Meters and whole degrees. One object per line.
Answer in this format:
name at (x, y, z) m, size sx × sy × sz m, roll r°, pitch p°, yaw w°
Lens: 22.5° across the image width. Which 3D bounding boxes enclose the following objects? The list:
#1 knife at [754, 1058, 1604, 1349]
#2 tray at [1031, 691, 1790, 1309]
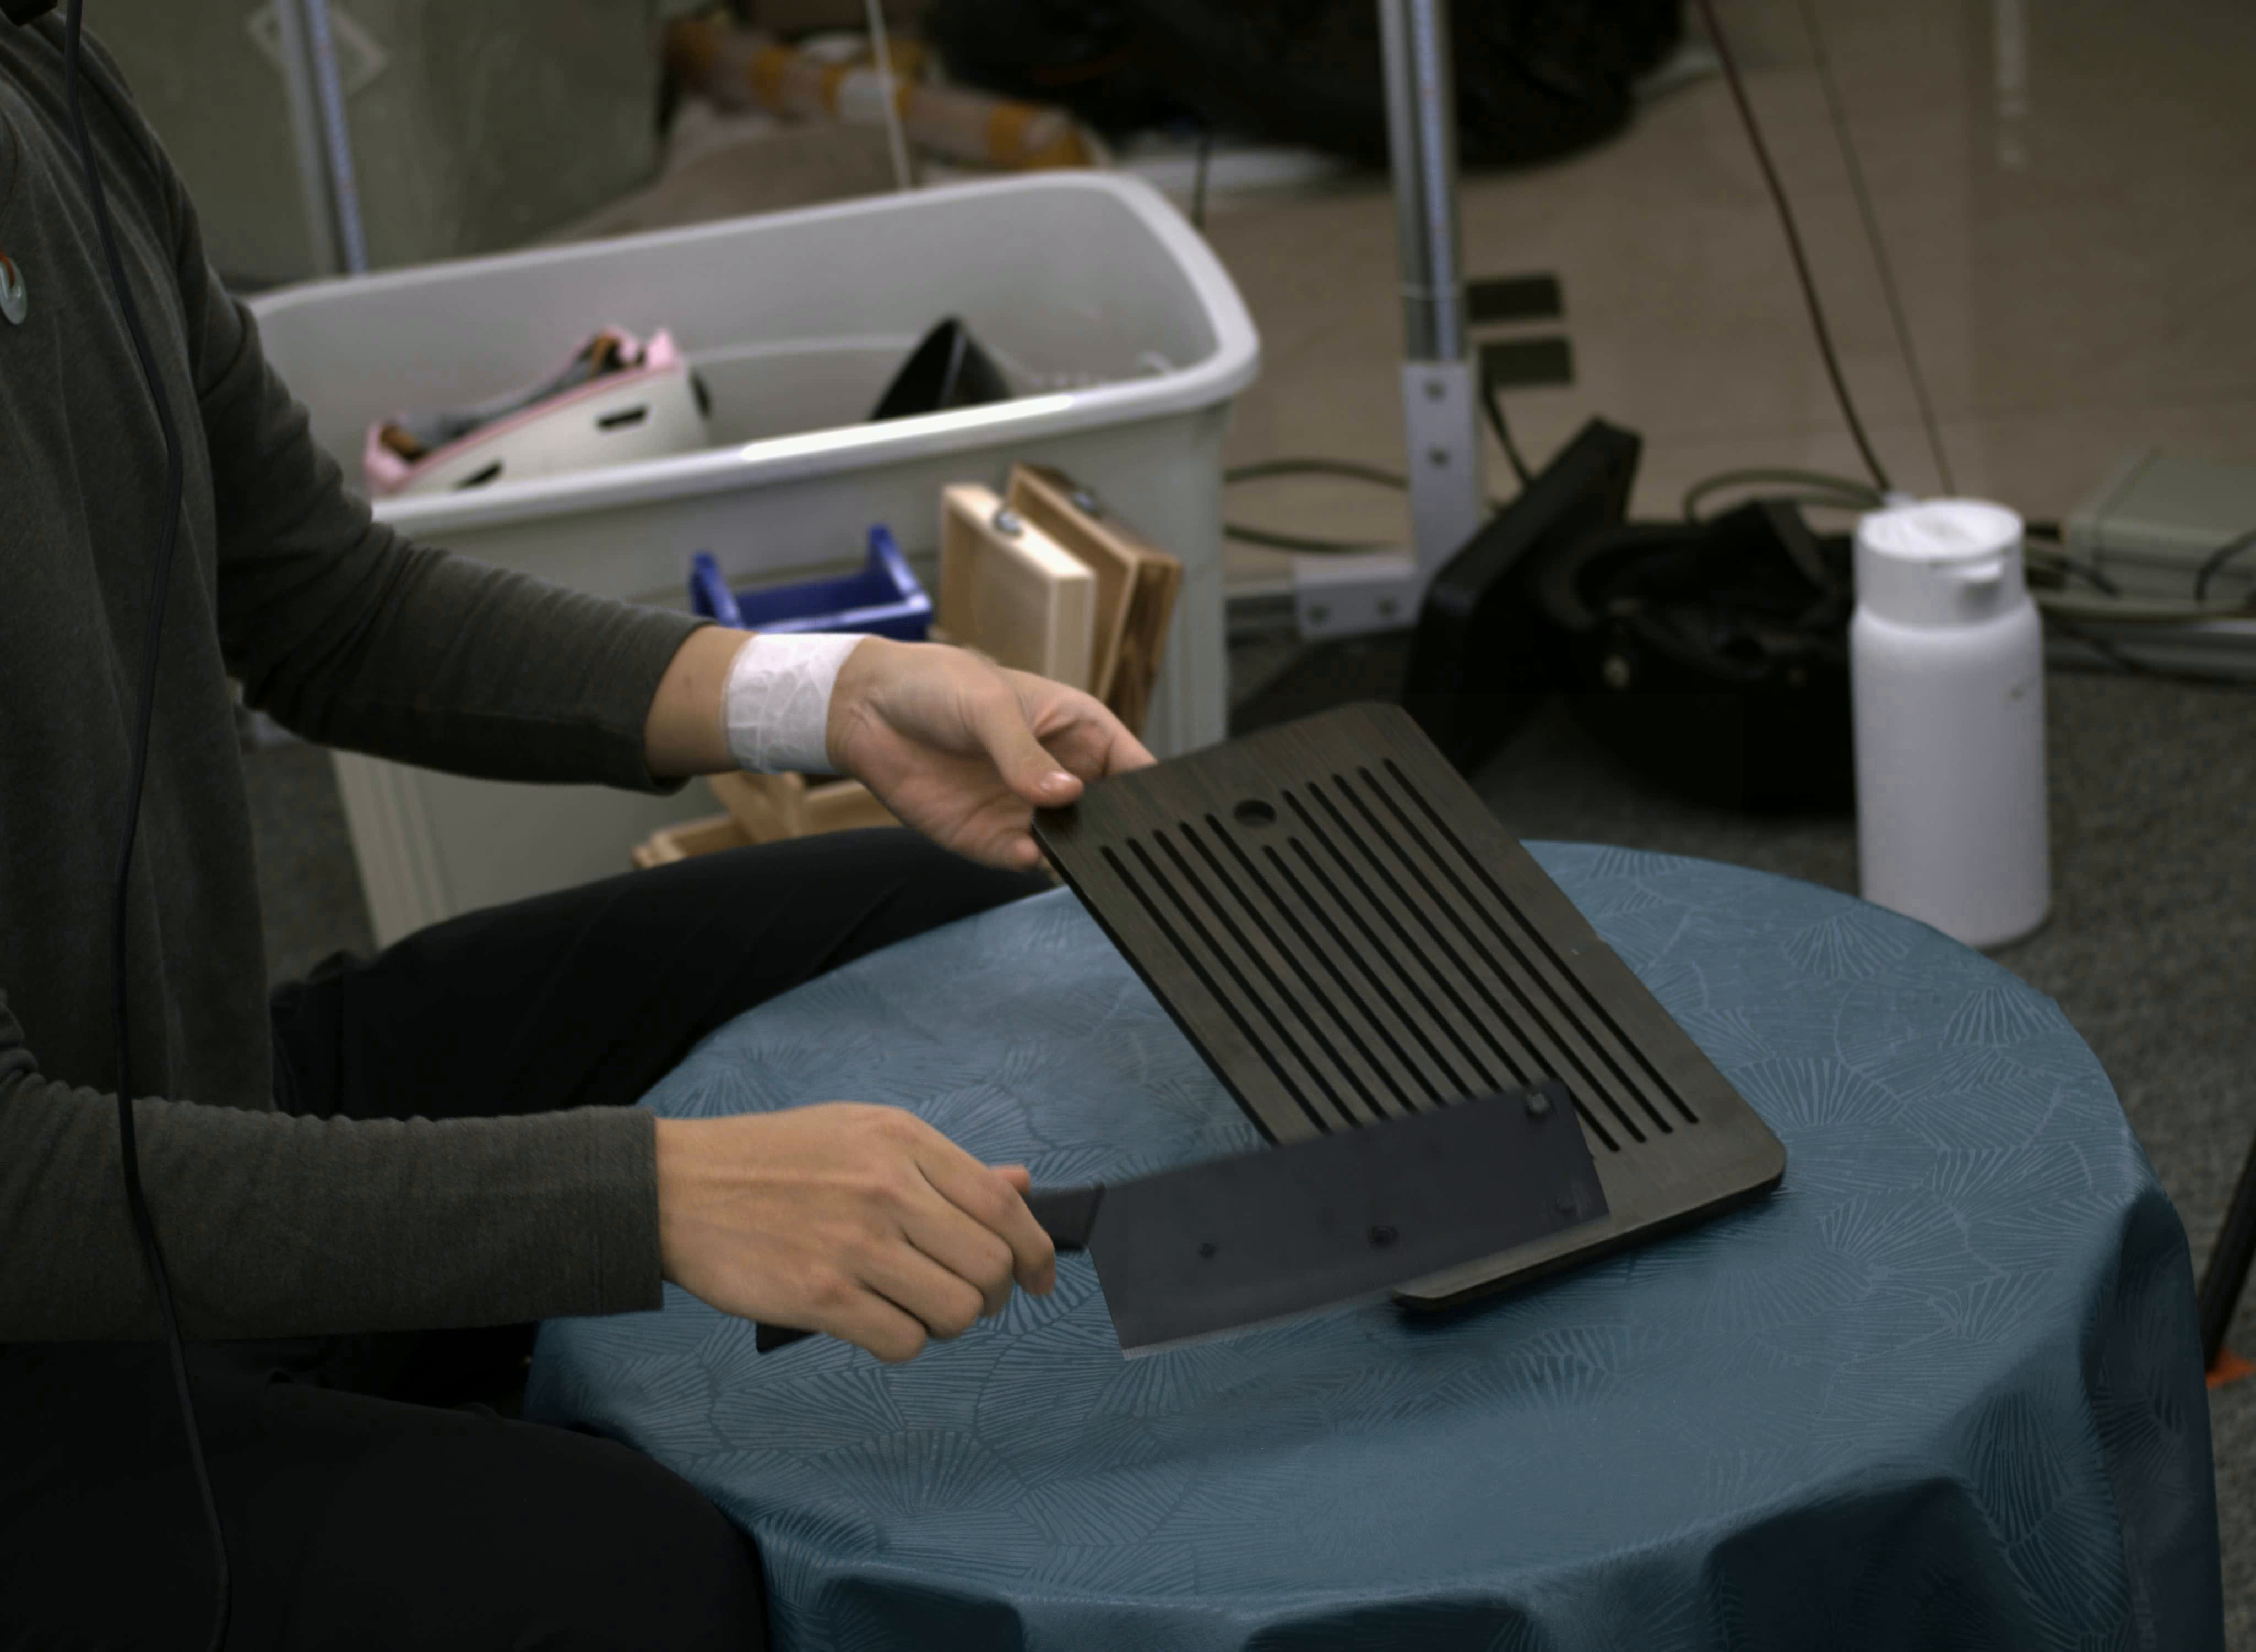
knife at (0.016, 0.141, 1.983) m, size 0.301 × 0.021 × 0.080 m, roll -10°, pitch 61°, yaw -6°
tray at (0.103, 0.062, 2.160) m, size 0.169 × 0.019 × 0.301 m, roll -18°, pitch 47°, yaw -22°
